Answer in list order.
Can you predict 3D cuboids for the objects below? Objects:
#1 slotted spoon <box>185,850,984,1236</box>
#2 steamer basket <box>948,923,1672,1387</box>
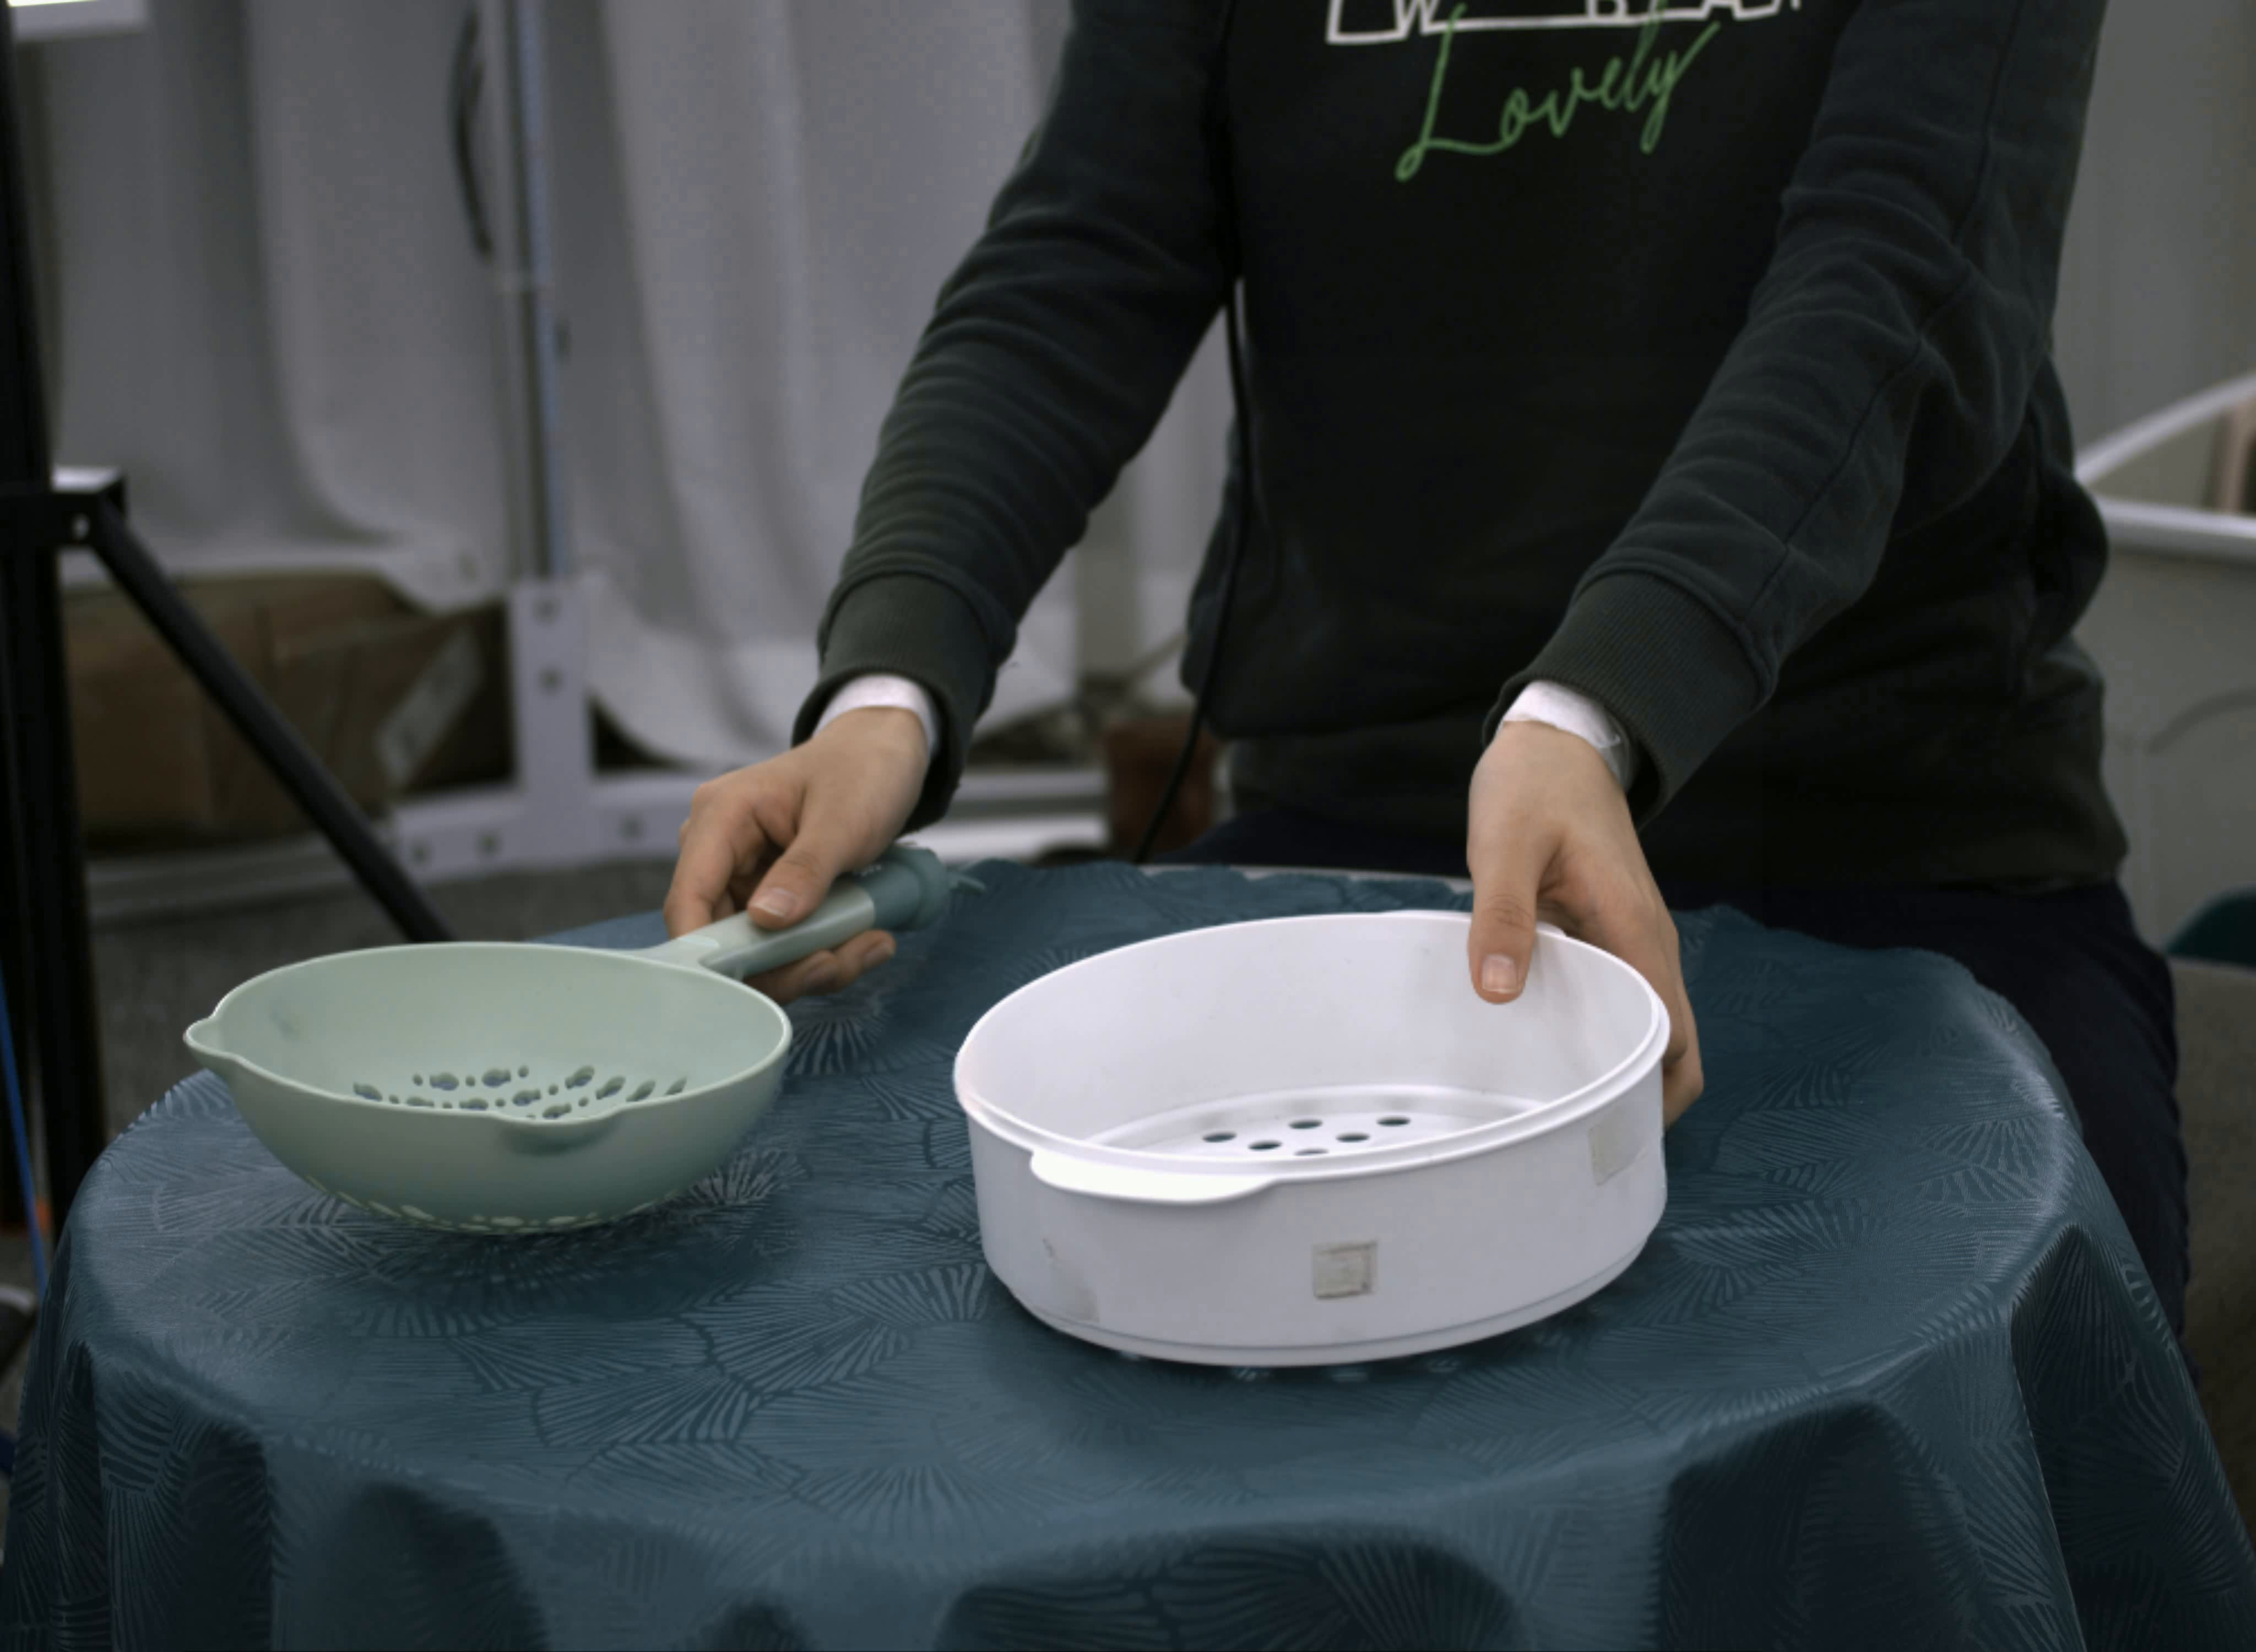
[{"bbox_3d":[-0.138,0.051,1.643,0.172,0.075,0.353,10,24,27],"label":"slotted spoon"},{"bbox_3d":[0.052,0.091,1.479,0.205,0.069,0.227,5,20,28],"label":"steamer basket"}]
